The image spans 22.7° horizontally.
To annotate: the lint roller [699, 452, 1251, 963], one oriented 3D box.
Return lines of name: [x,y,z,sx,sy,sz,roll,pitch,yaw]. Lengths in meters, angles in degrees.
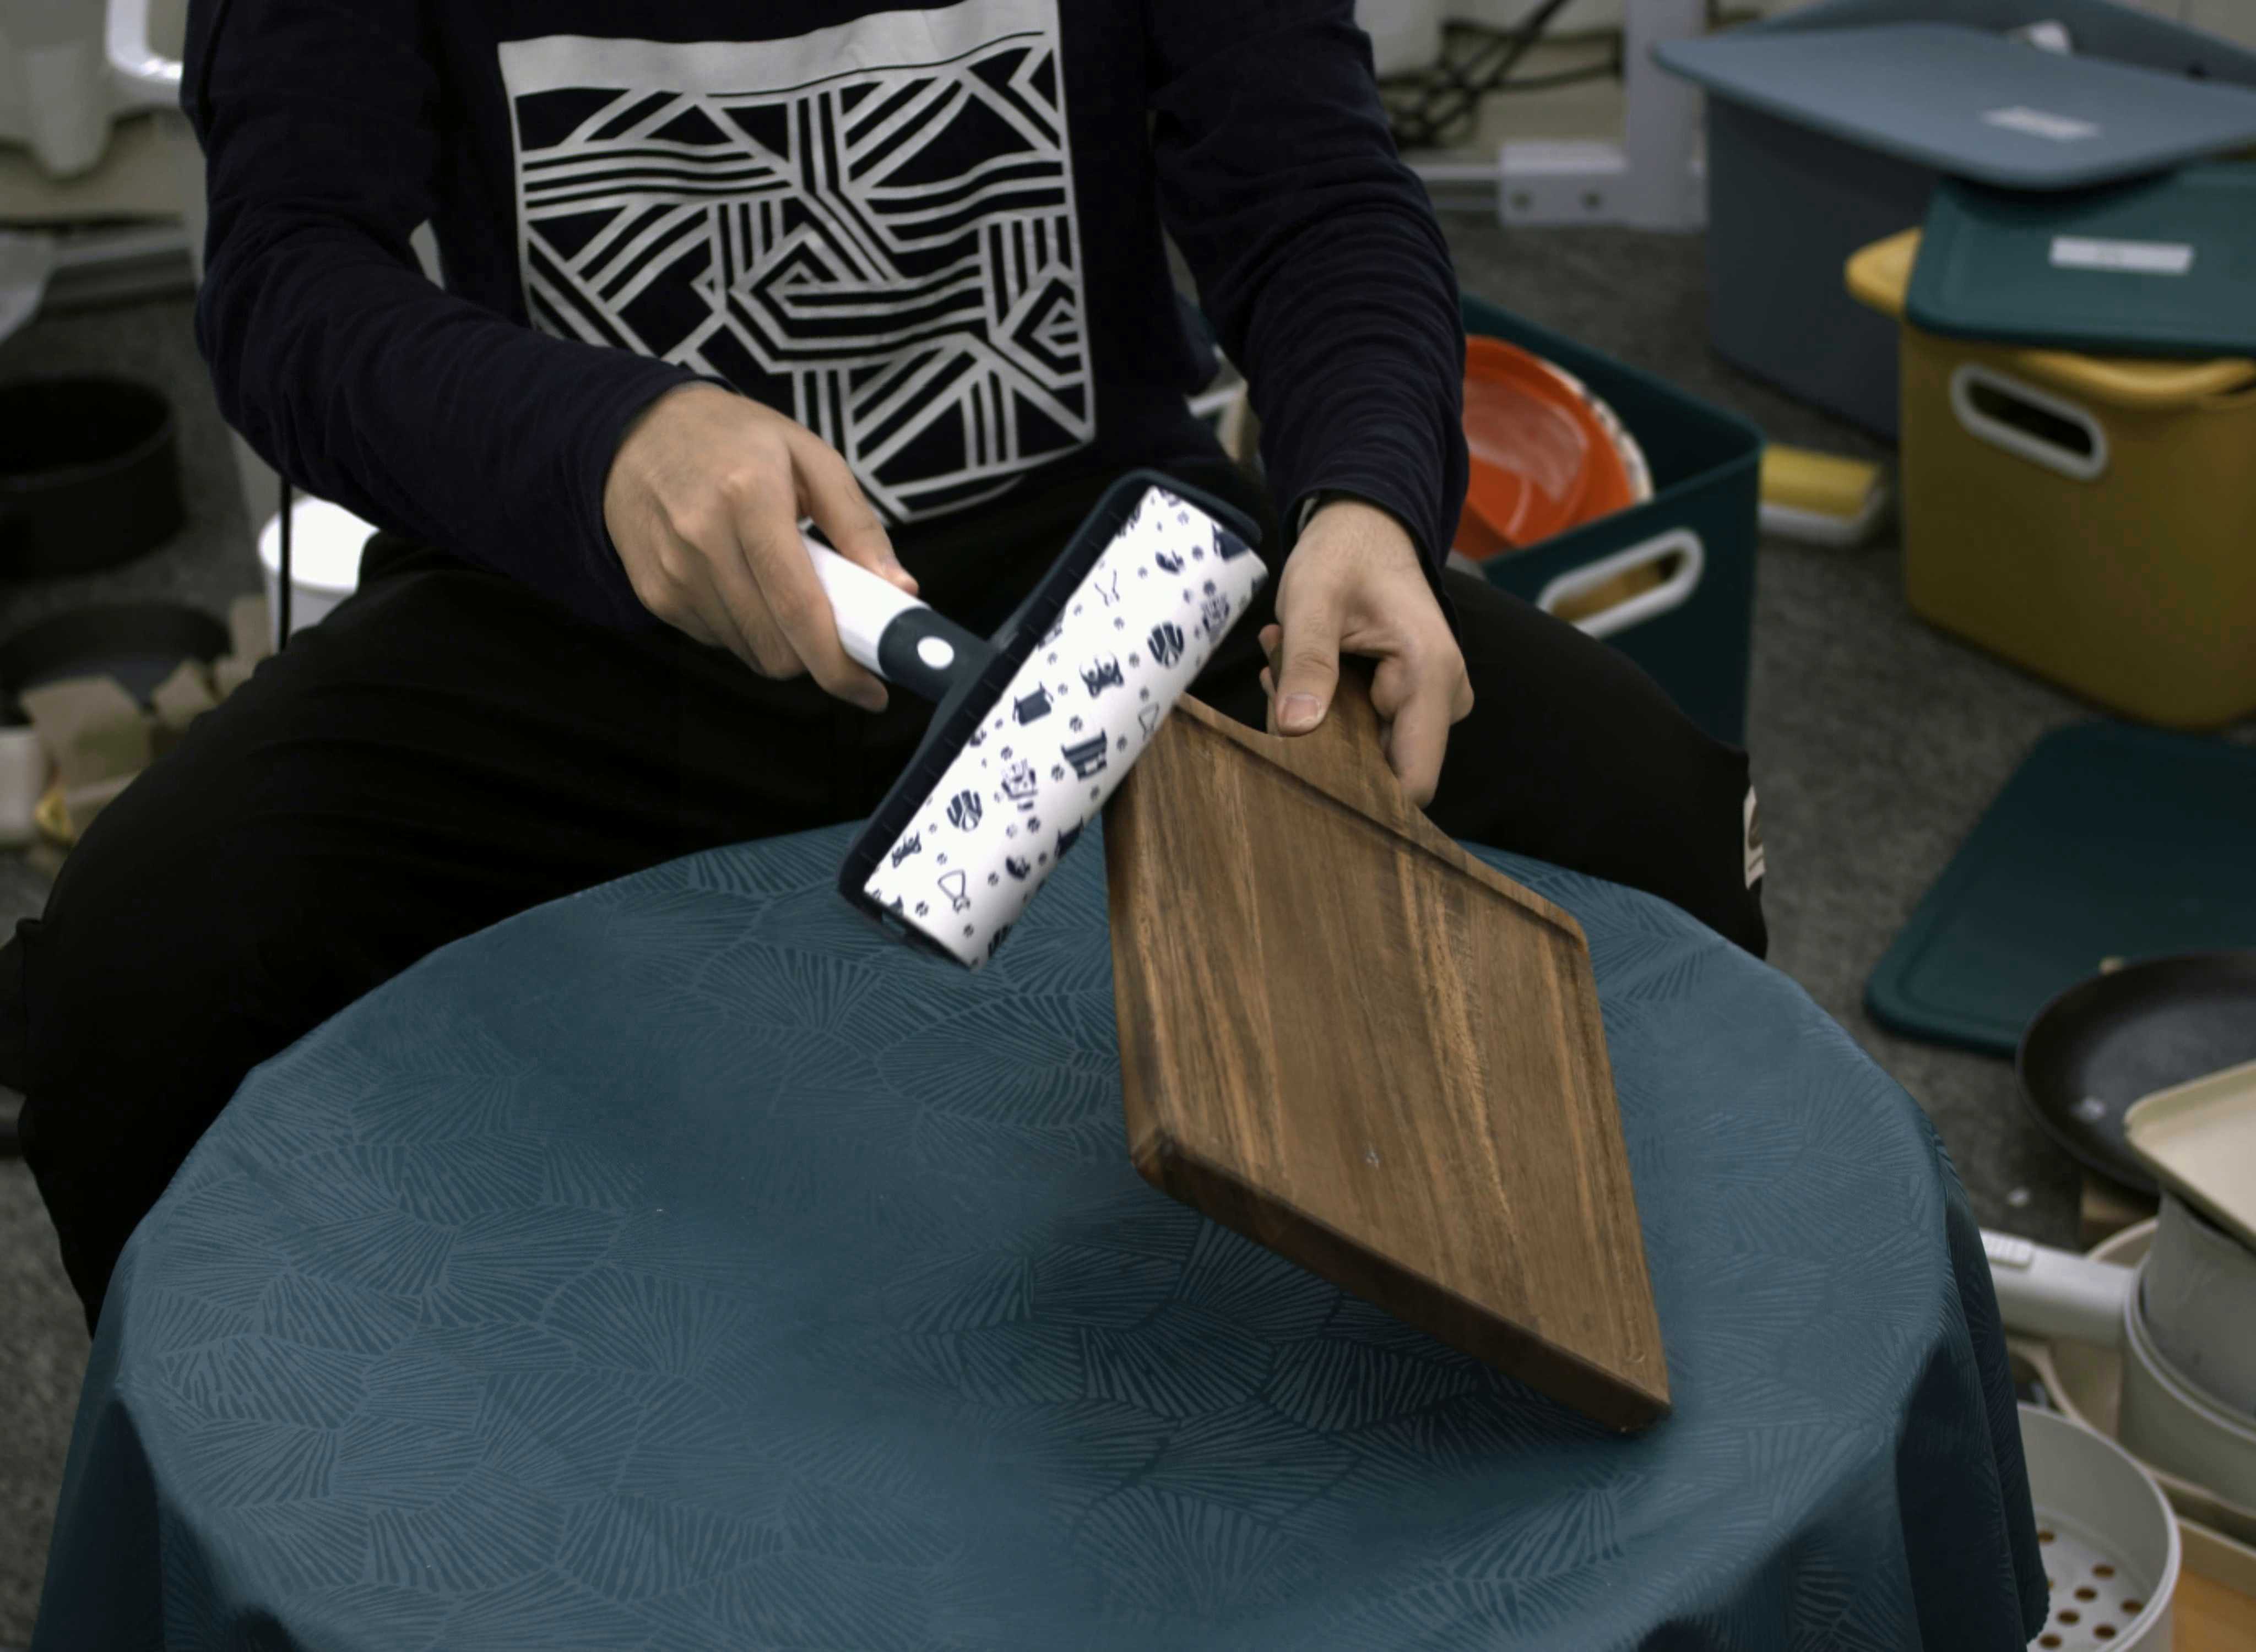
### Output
lint roller: [-0.080,-0.066,1.872,0.247,0.050,0.177,27,80,49]

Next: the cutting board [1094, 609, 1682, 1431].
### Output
cutting board: [0.076,0.038,1.823,0.200,0.023,0.358,29,28,-22]
